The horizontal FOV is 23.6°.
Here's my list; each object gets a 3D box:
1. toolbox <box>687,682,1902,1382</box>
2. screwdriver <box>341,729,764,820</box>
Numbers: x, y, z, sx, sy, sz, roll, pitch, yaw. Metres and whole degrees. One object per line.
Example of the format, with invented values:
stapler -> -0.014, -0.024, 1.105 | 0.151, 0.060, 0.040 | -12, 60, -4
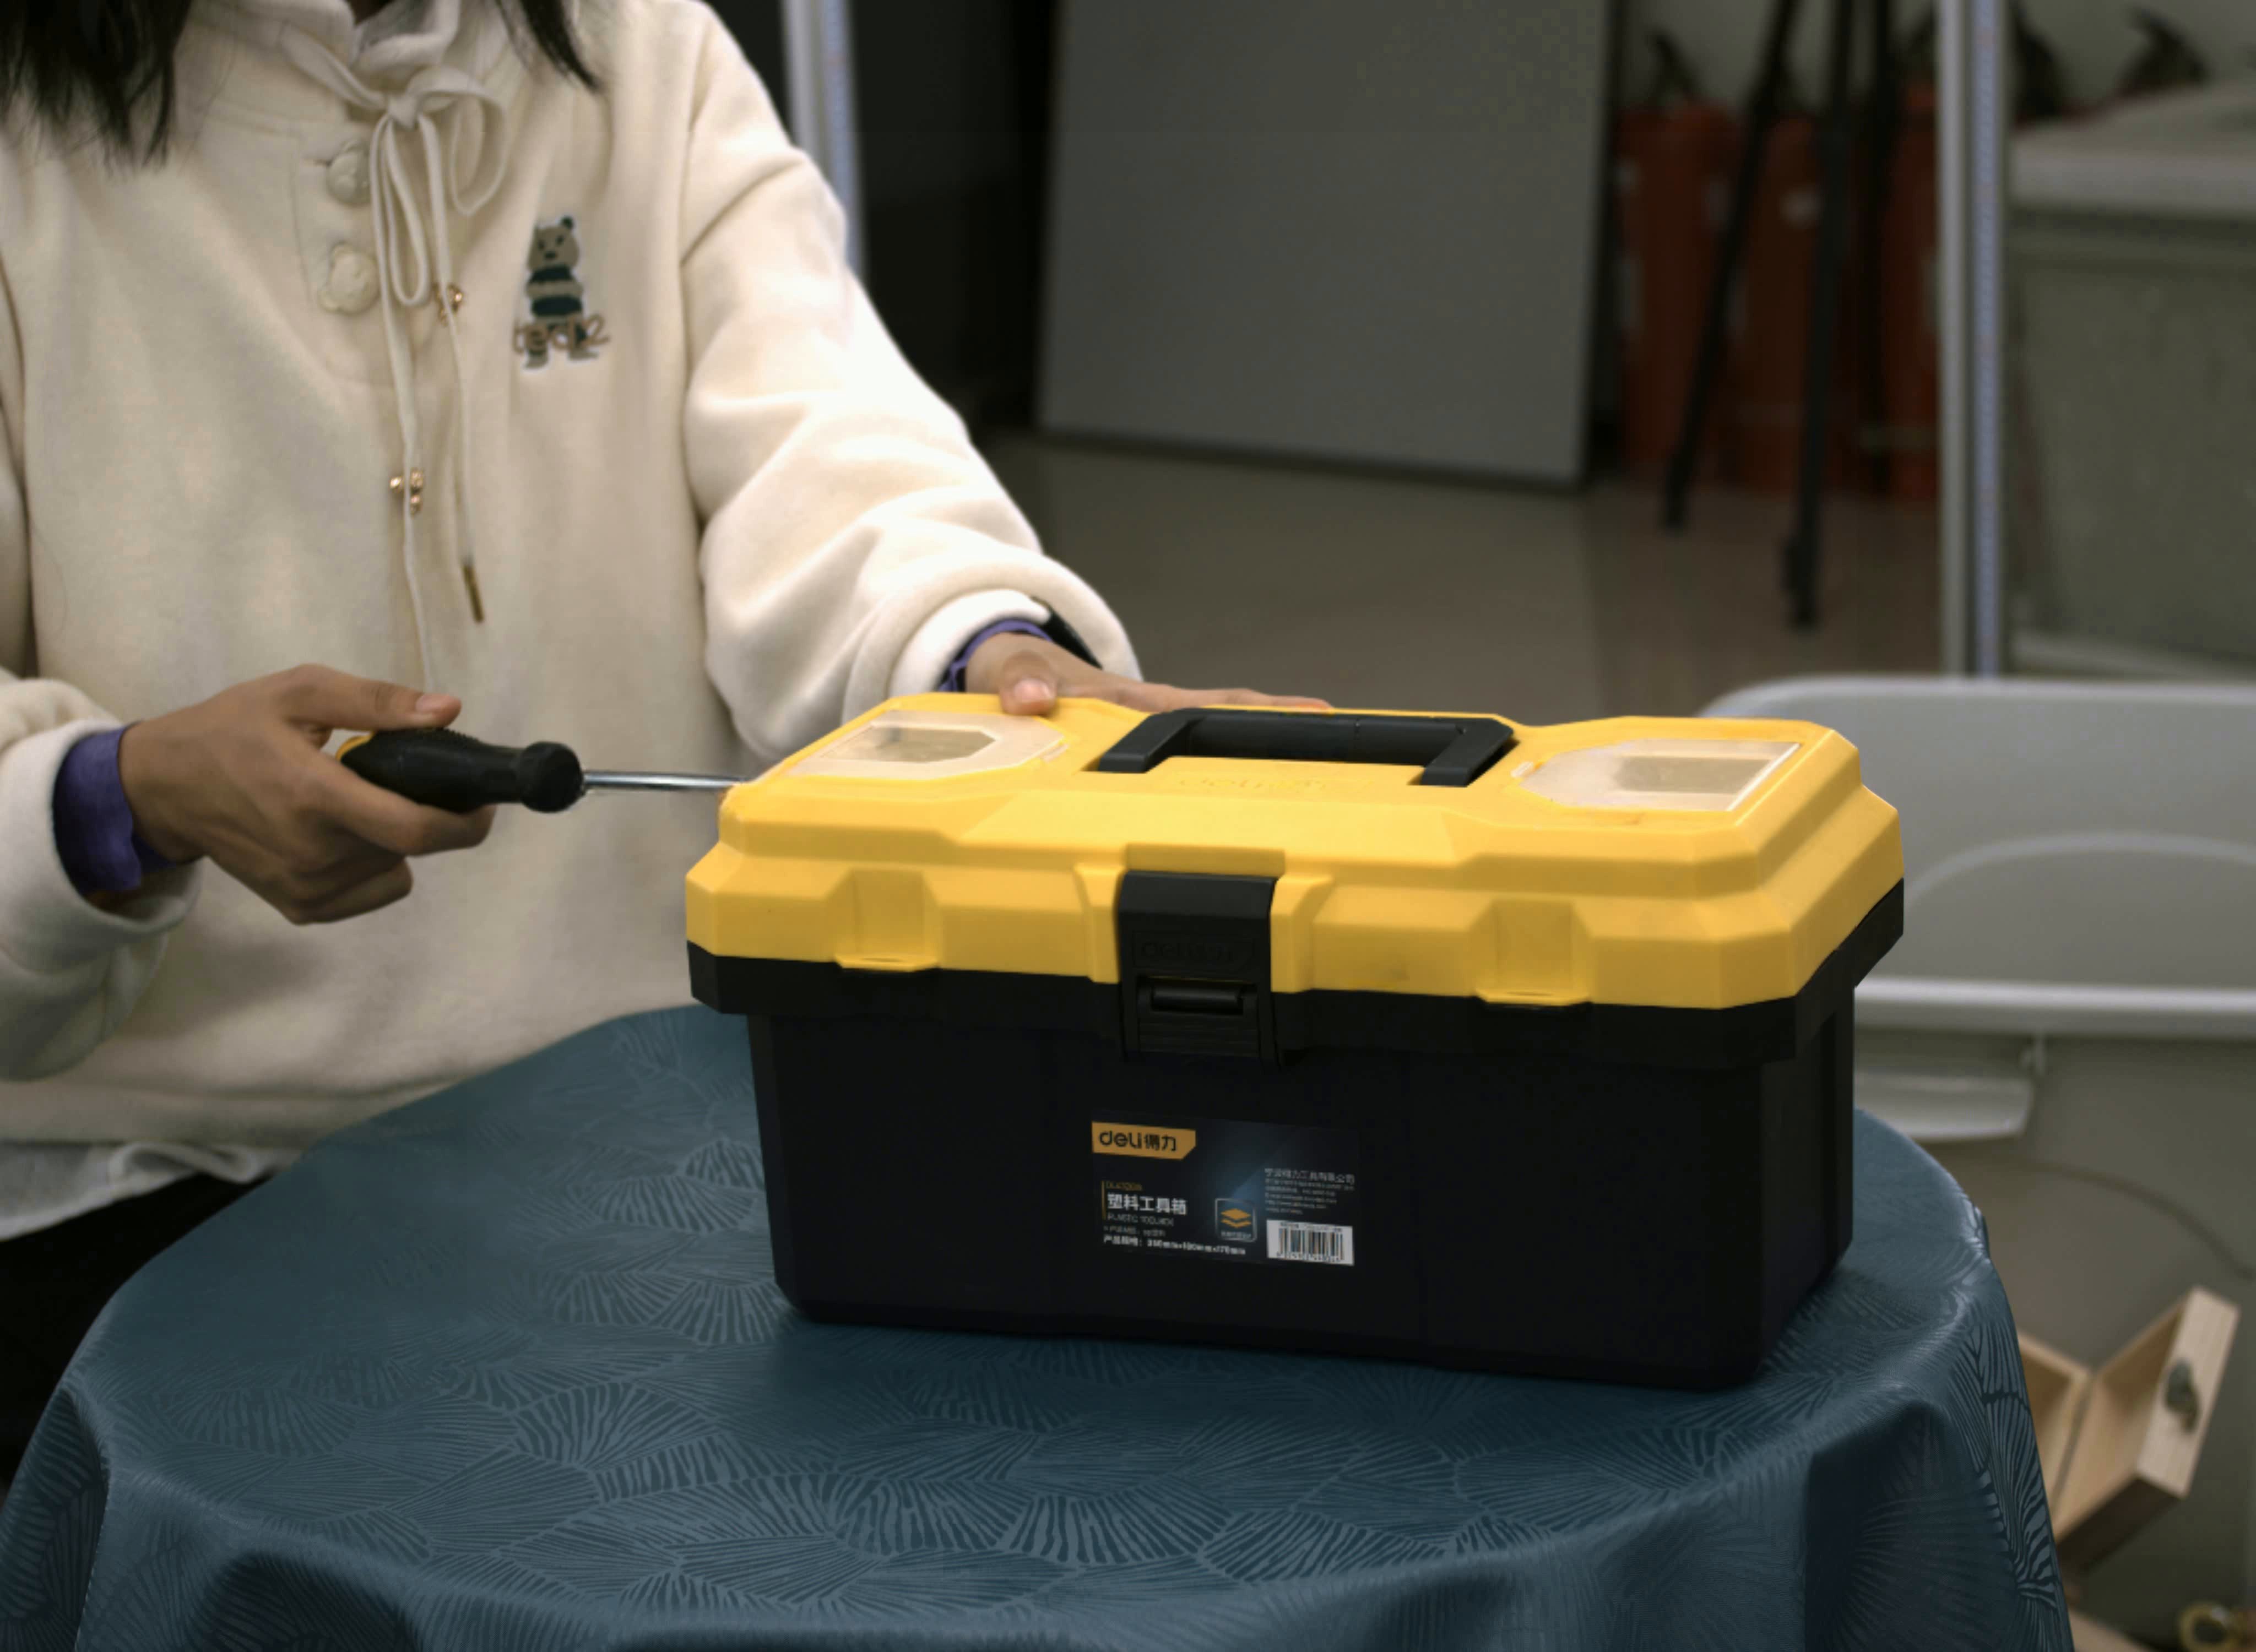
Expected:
toolbox -> 0.051, 0.059, 1.641 | 0.351, 0.175, 0.179 | 2, 14, 24
screwdriver -> -0.180, -0.016, 1.760 | 0.199, 0.032, 0.031 | 1, 14, 36
